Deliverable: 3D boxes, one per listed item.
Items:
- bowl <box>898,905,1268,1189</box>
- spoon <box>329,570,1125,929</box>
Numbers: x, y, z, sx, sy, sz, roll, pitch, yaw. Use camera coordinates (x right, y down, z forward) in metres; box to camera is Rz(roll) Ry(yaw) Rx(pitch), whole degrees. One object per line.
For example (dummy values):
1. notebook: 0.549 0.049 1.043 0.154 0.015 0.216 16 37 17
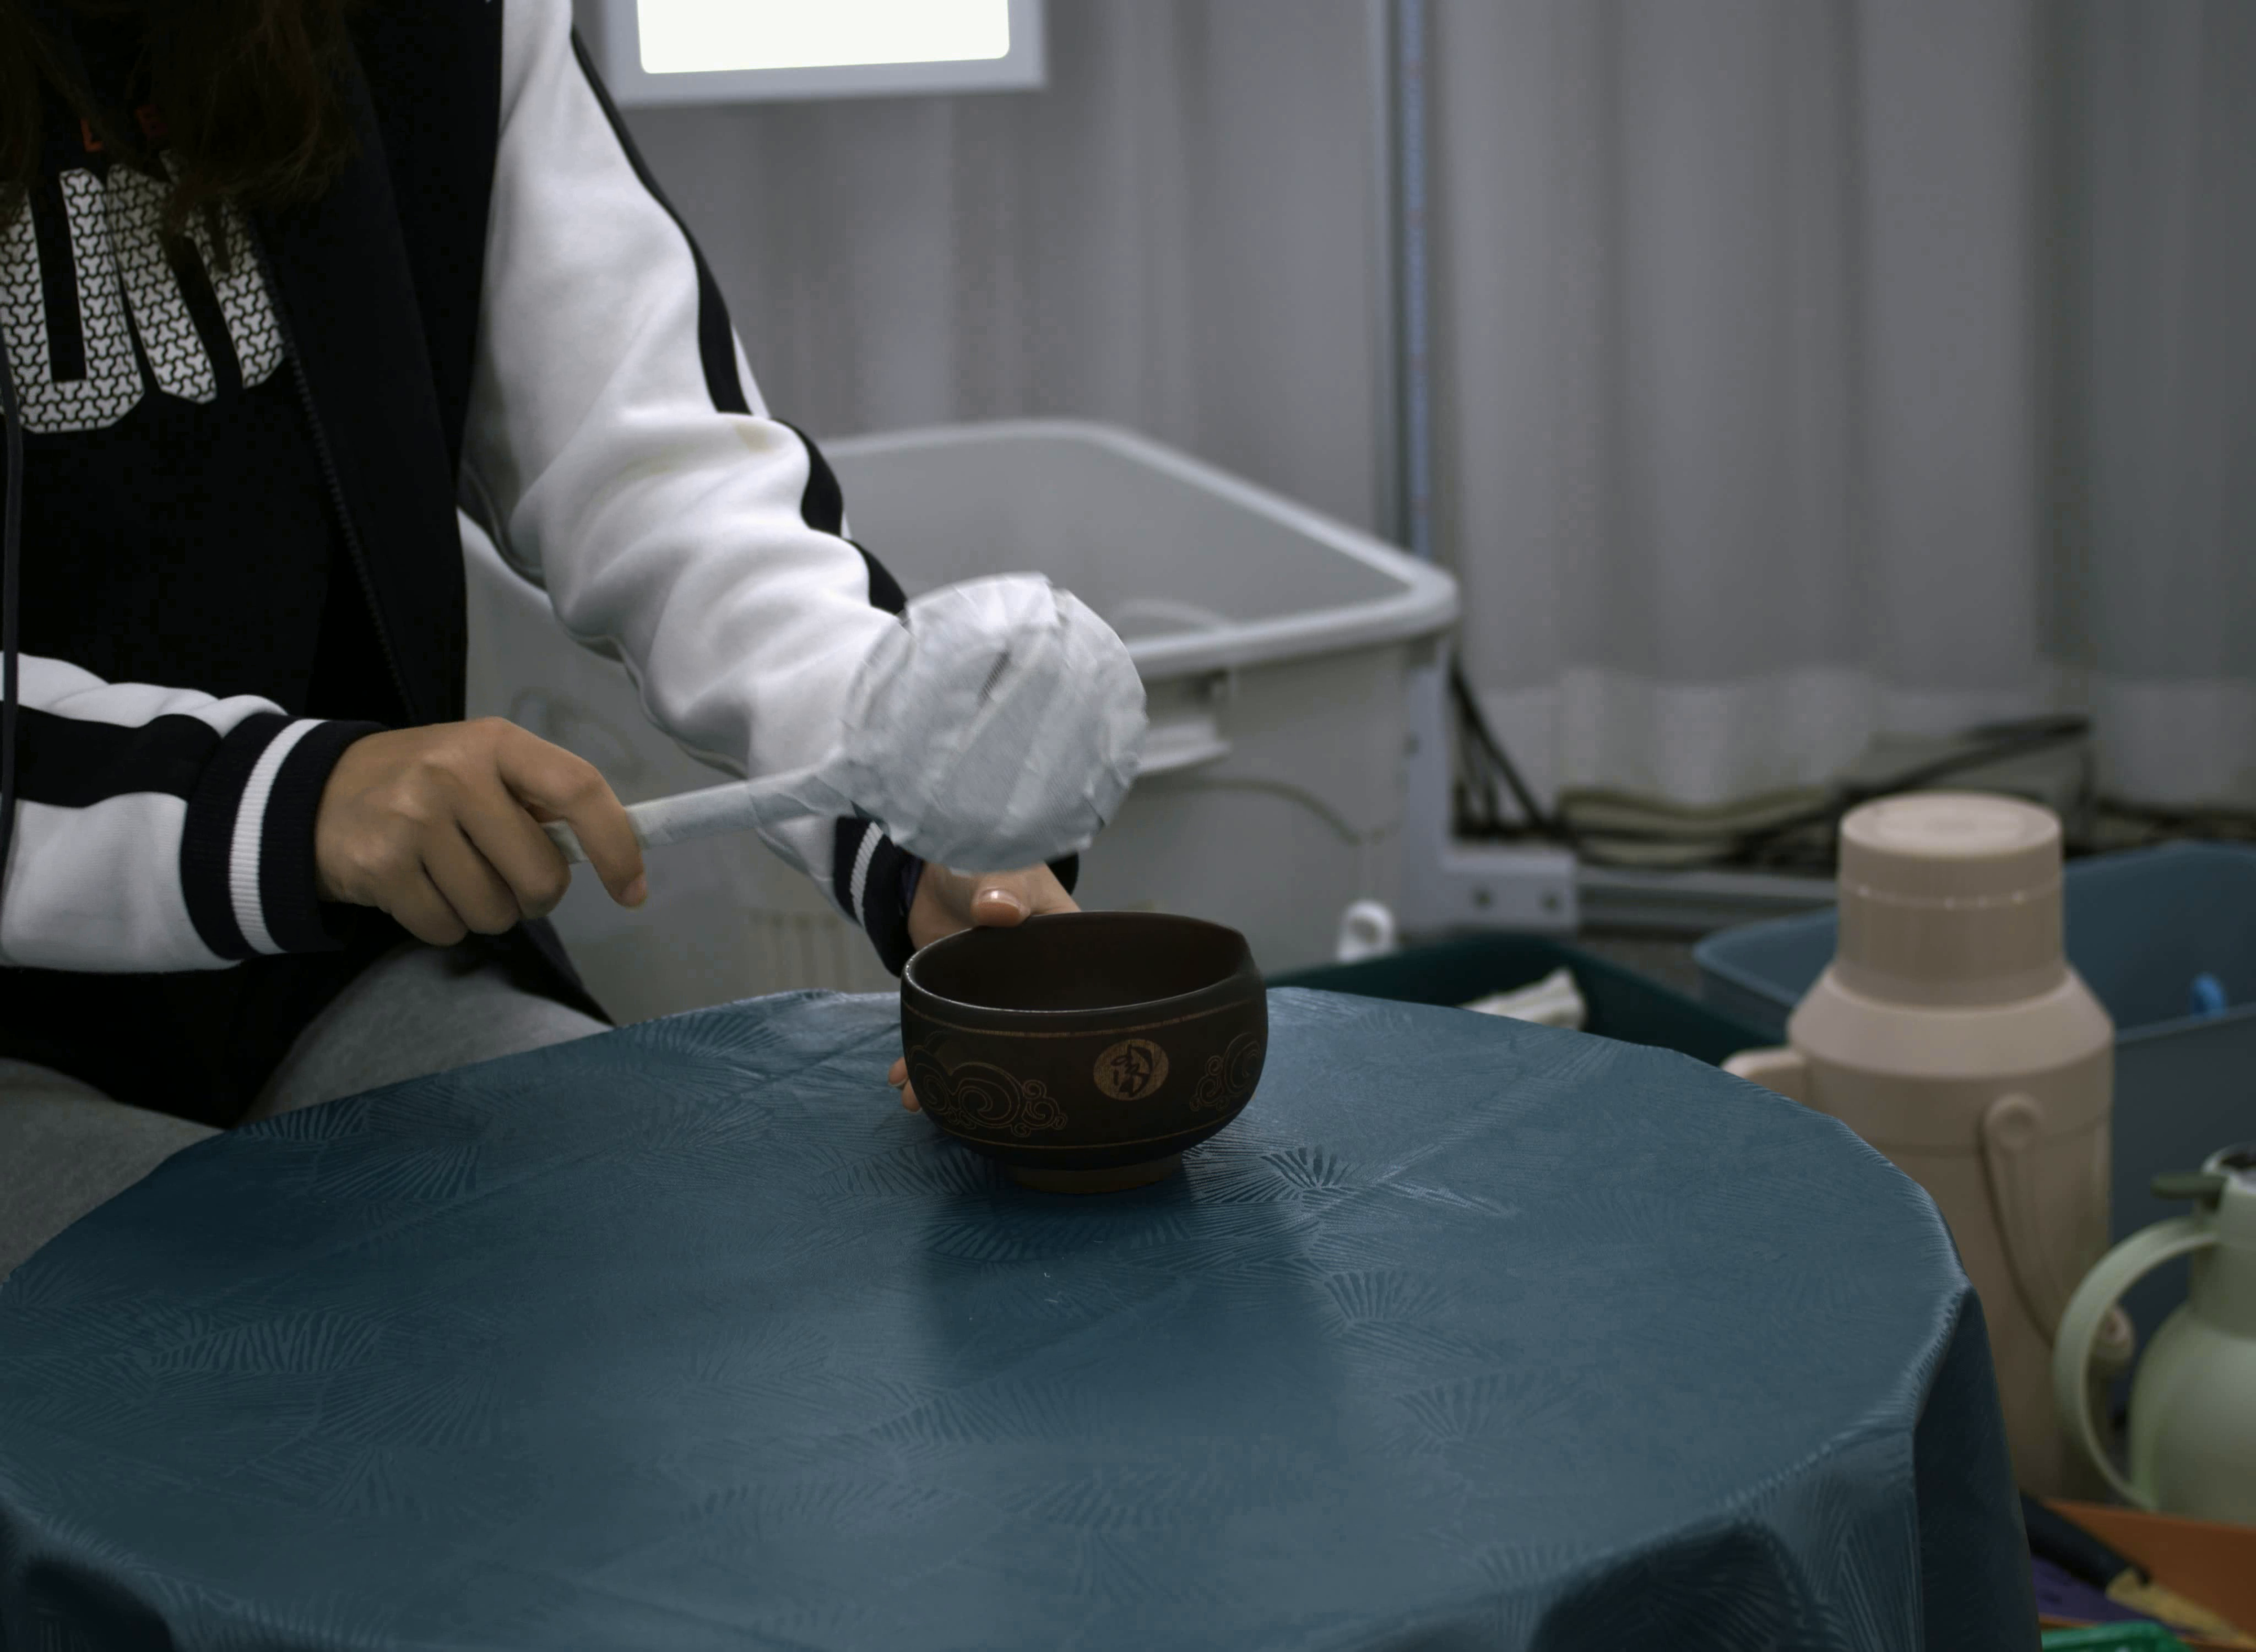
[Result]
1. bowl: -0.014 0.074 1.731 0.117 0.069 0.119 -3 14 0
2. spoon: -0.129 -0.008 1.718 0.277 0.100 0.059 -14 14 31
